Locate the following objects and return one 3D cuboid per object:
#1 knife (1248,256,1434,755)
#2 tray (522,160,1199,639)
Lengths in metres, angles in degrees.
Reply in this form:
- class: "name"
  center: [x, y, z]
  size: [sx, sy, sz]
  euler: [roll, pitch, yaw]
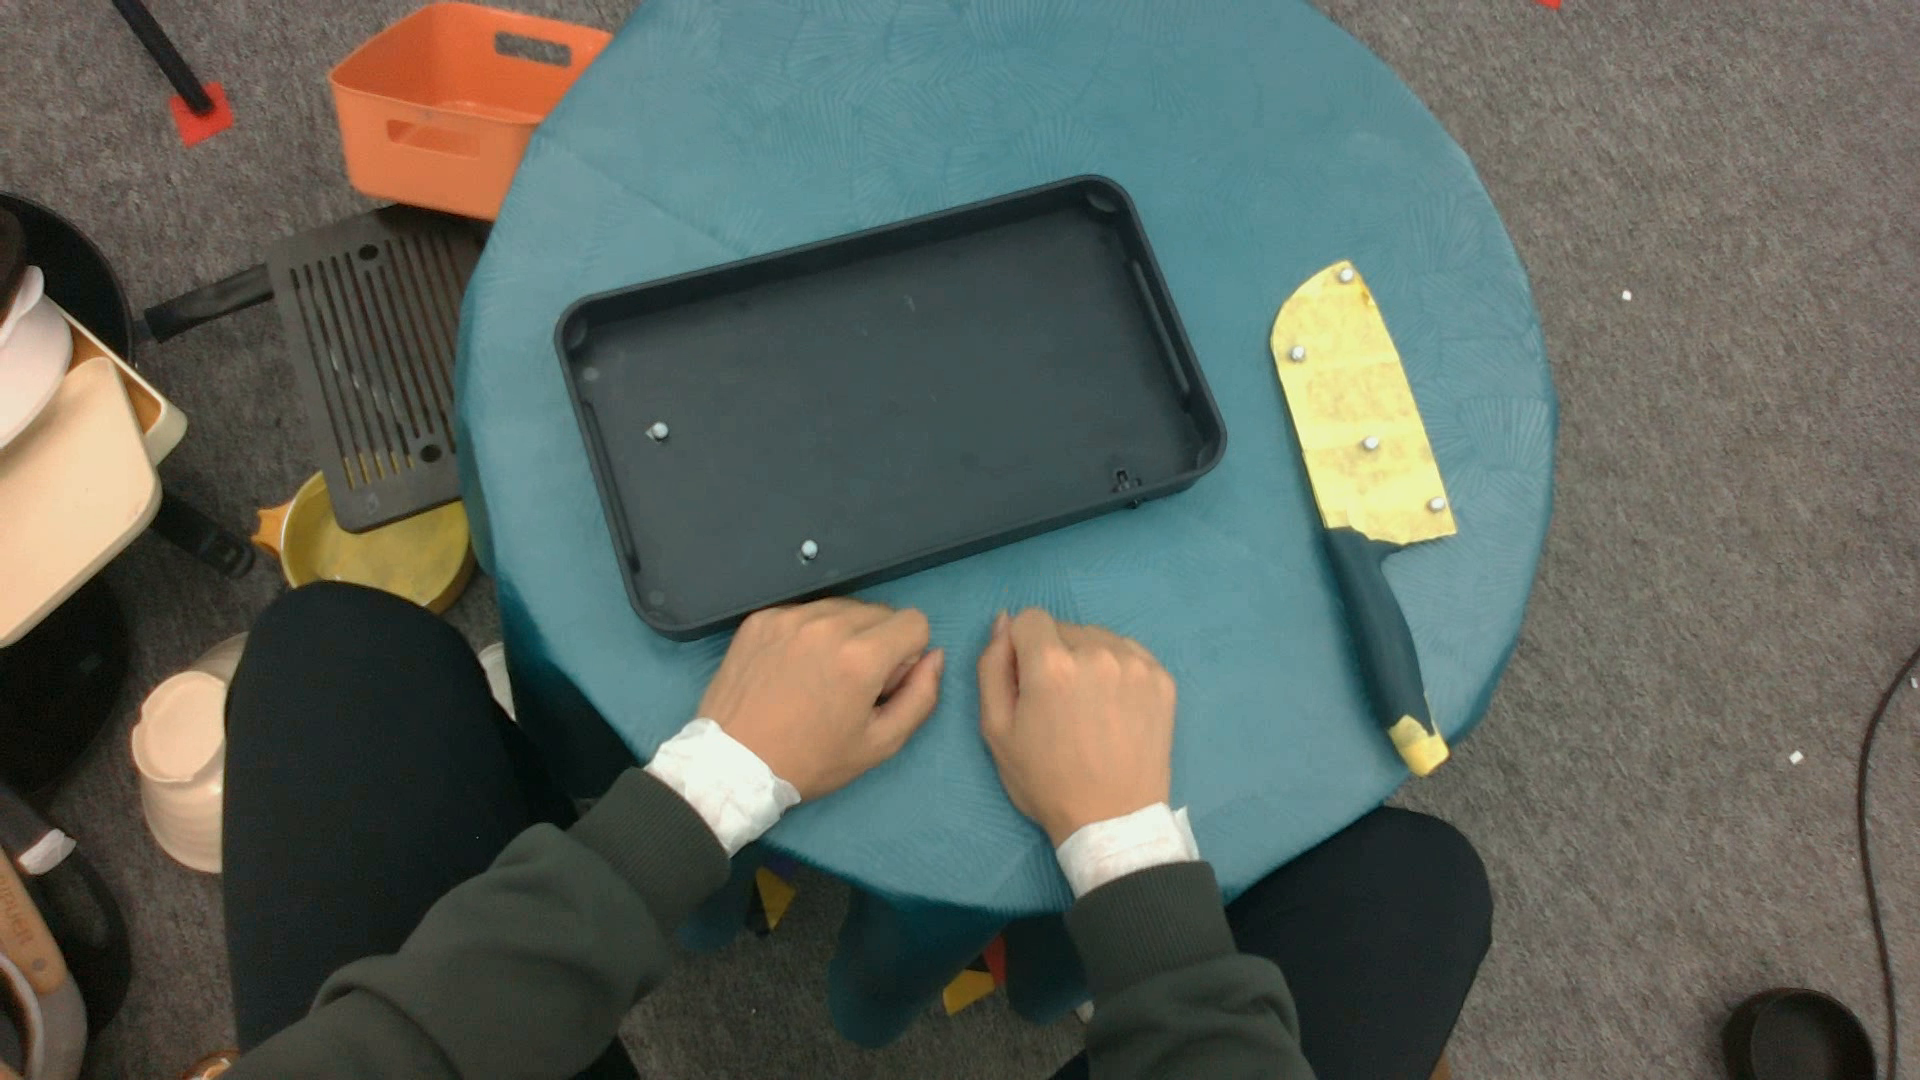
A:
- class: "knife"
  center: [0.217, -0.028, 0.752]
  size: [0.081, 0.027, 0.290]
  euler: [-6, 73, -8]
- class: "tray"
  center: [-0.049, -0.079, 0.721]
  size: [0.318, 0.037, 0.184]
  euler: [-19, 77, -13]
